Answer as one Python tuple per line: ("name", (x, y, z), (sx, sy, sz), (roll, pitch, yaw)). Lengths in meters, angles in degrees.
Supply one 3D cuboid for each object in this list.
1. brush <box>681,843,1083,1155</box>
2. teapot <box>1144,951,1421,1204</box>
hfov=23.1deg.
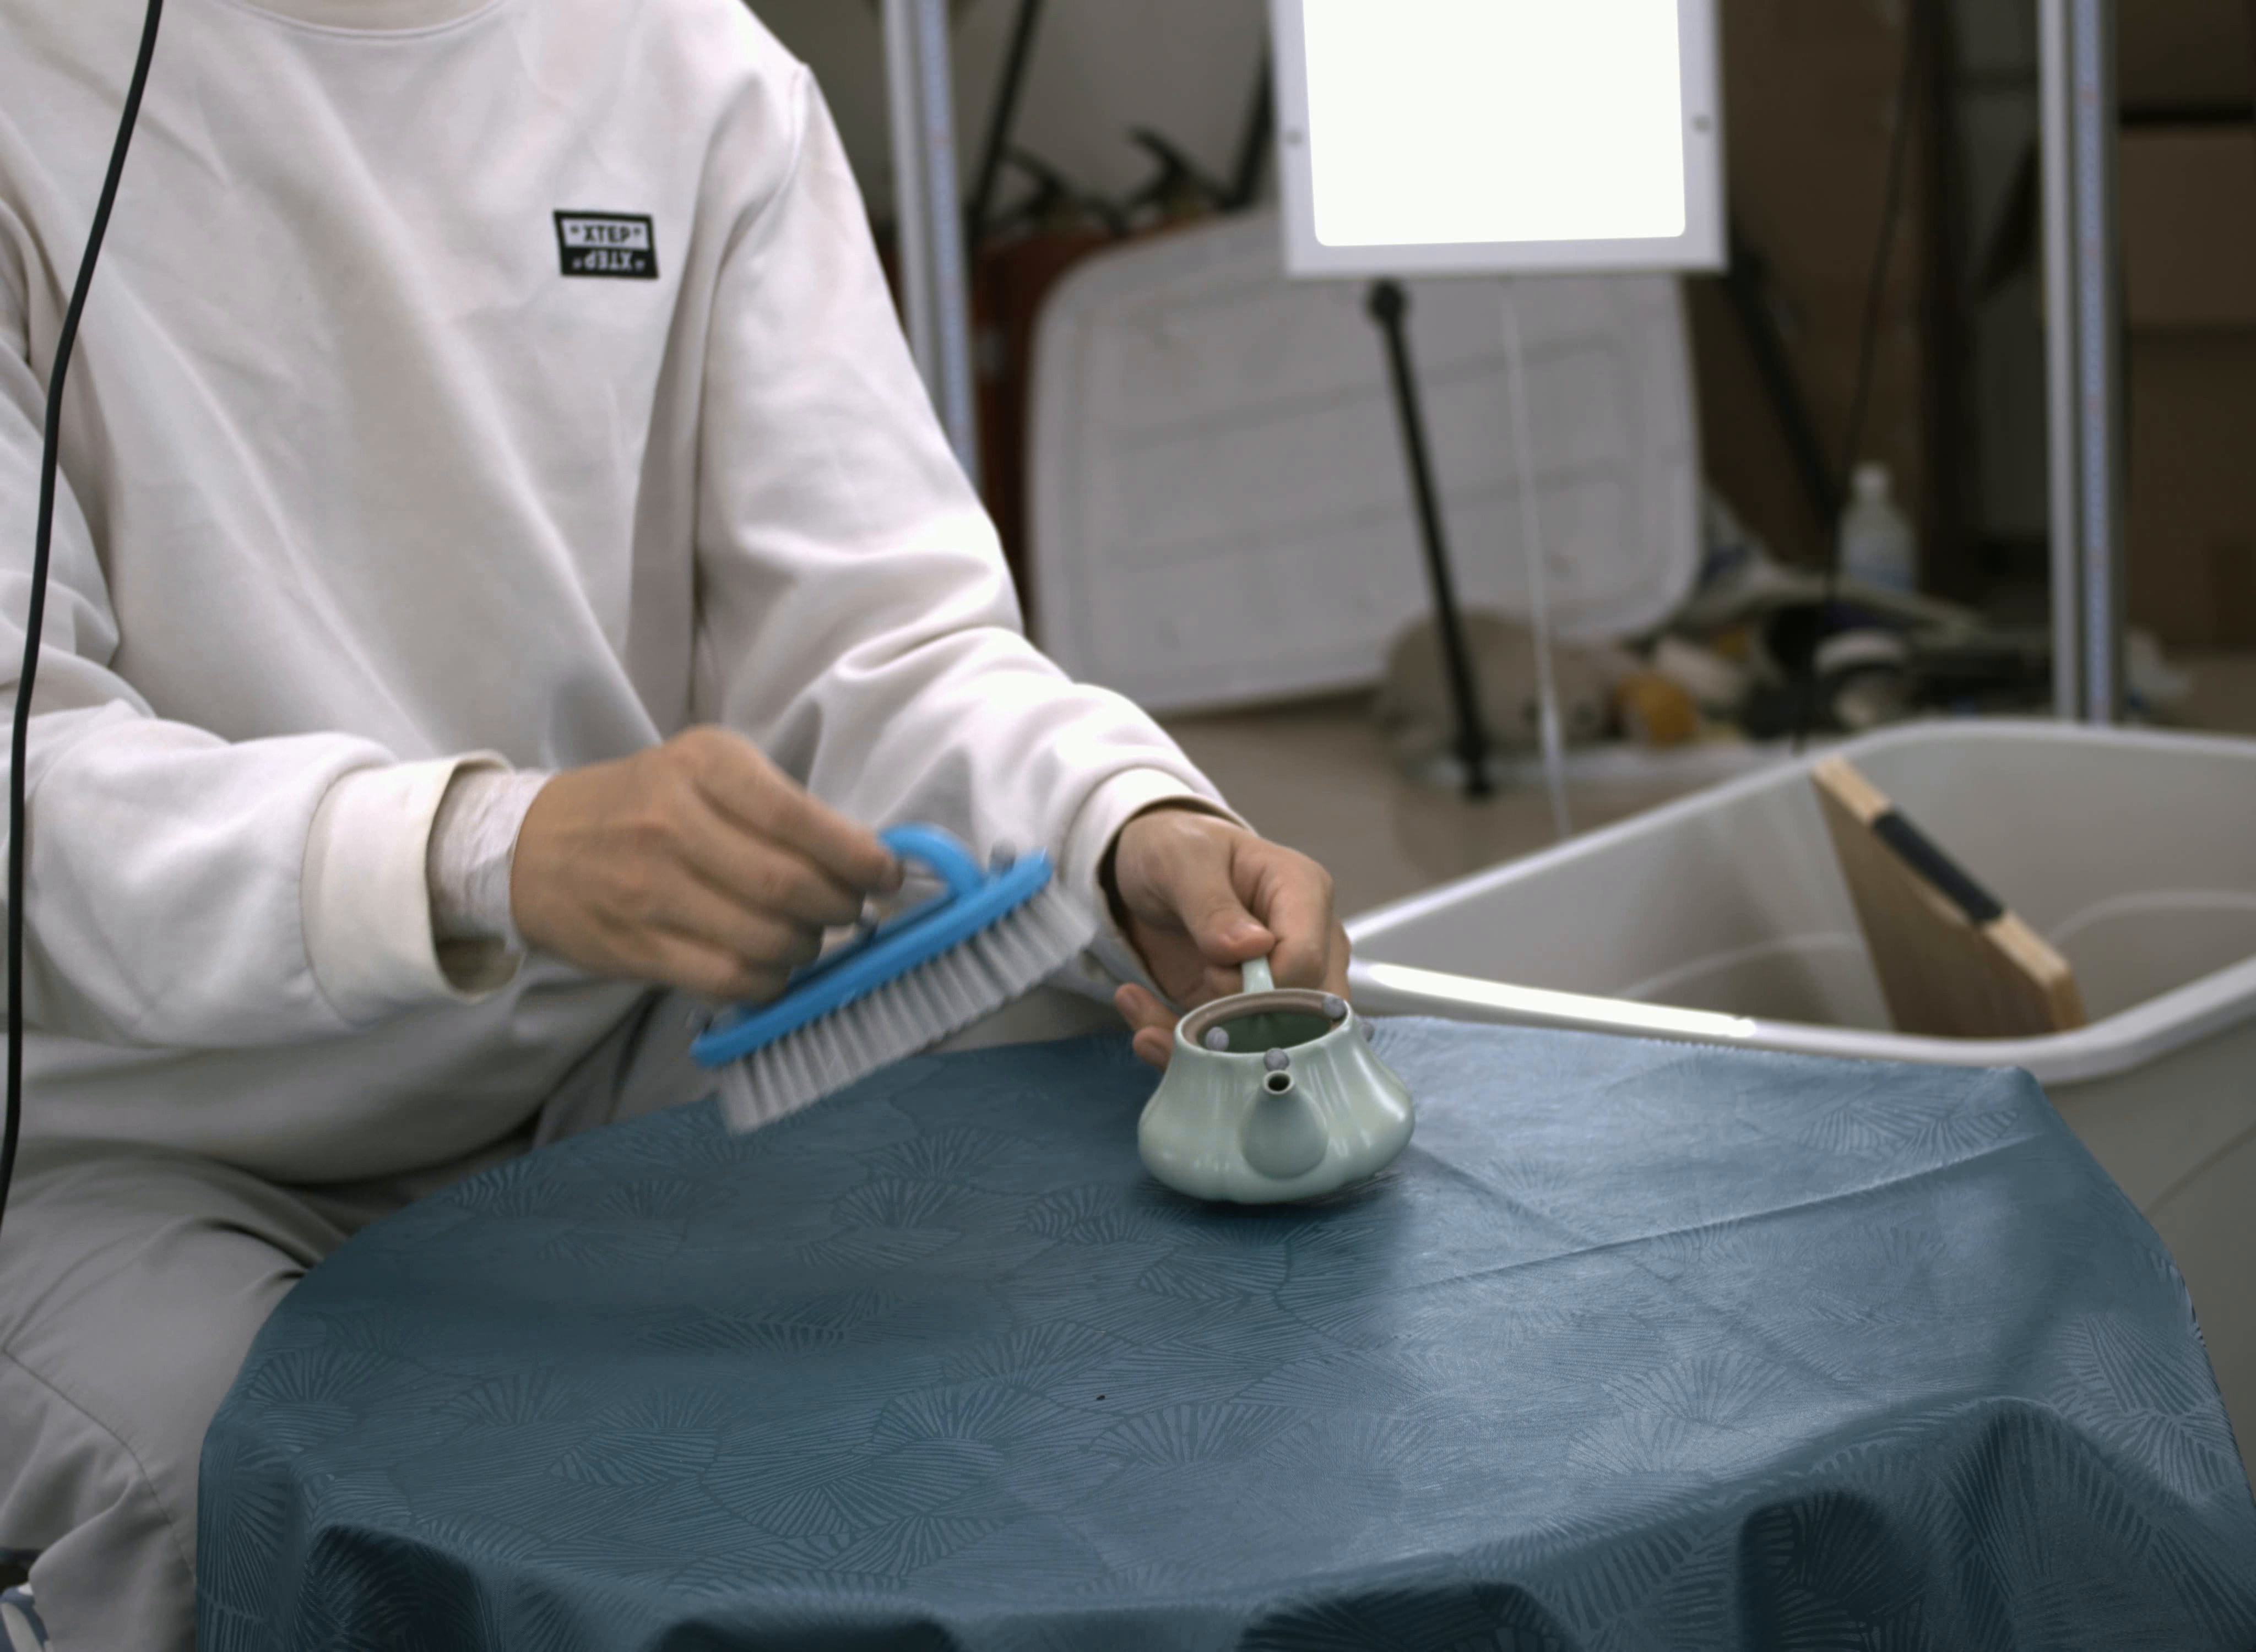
("brush", (-0.088, 0.048, 1.792), (0.144, 0.063, 0.083), (-29, 11, 20))
("teapot", (0.051, 0.090, 1.893), (0.096, 0.061, 0.137), (-11, 20, -1))
